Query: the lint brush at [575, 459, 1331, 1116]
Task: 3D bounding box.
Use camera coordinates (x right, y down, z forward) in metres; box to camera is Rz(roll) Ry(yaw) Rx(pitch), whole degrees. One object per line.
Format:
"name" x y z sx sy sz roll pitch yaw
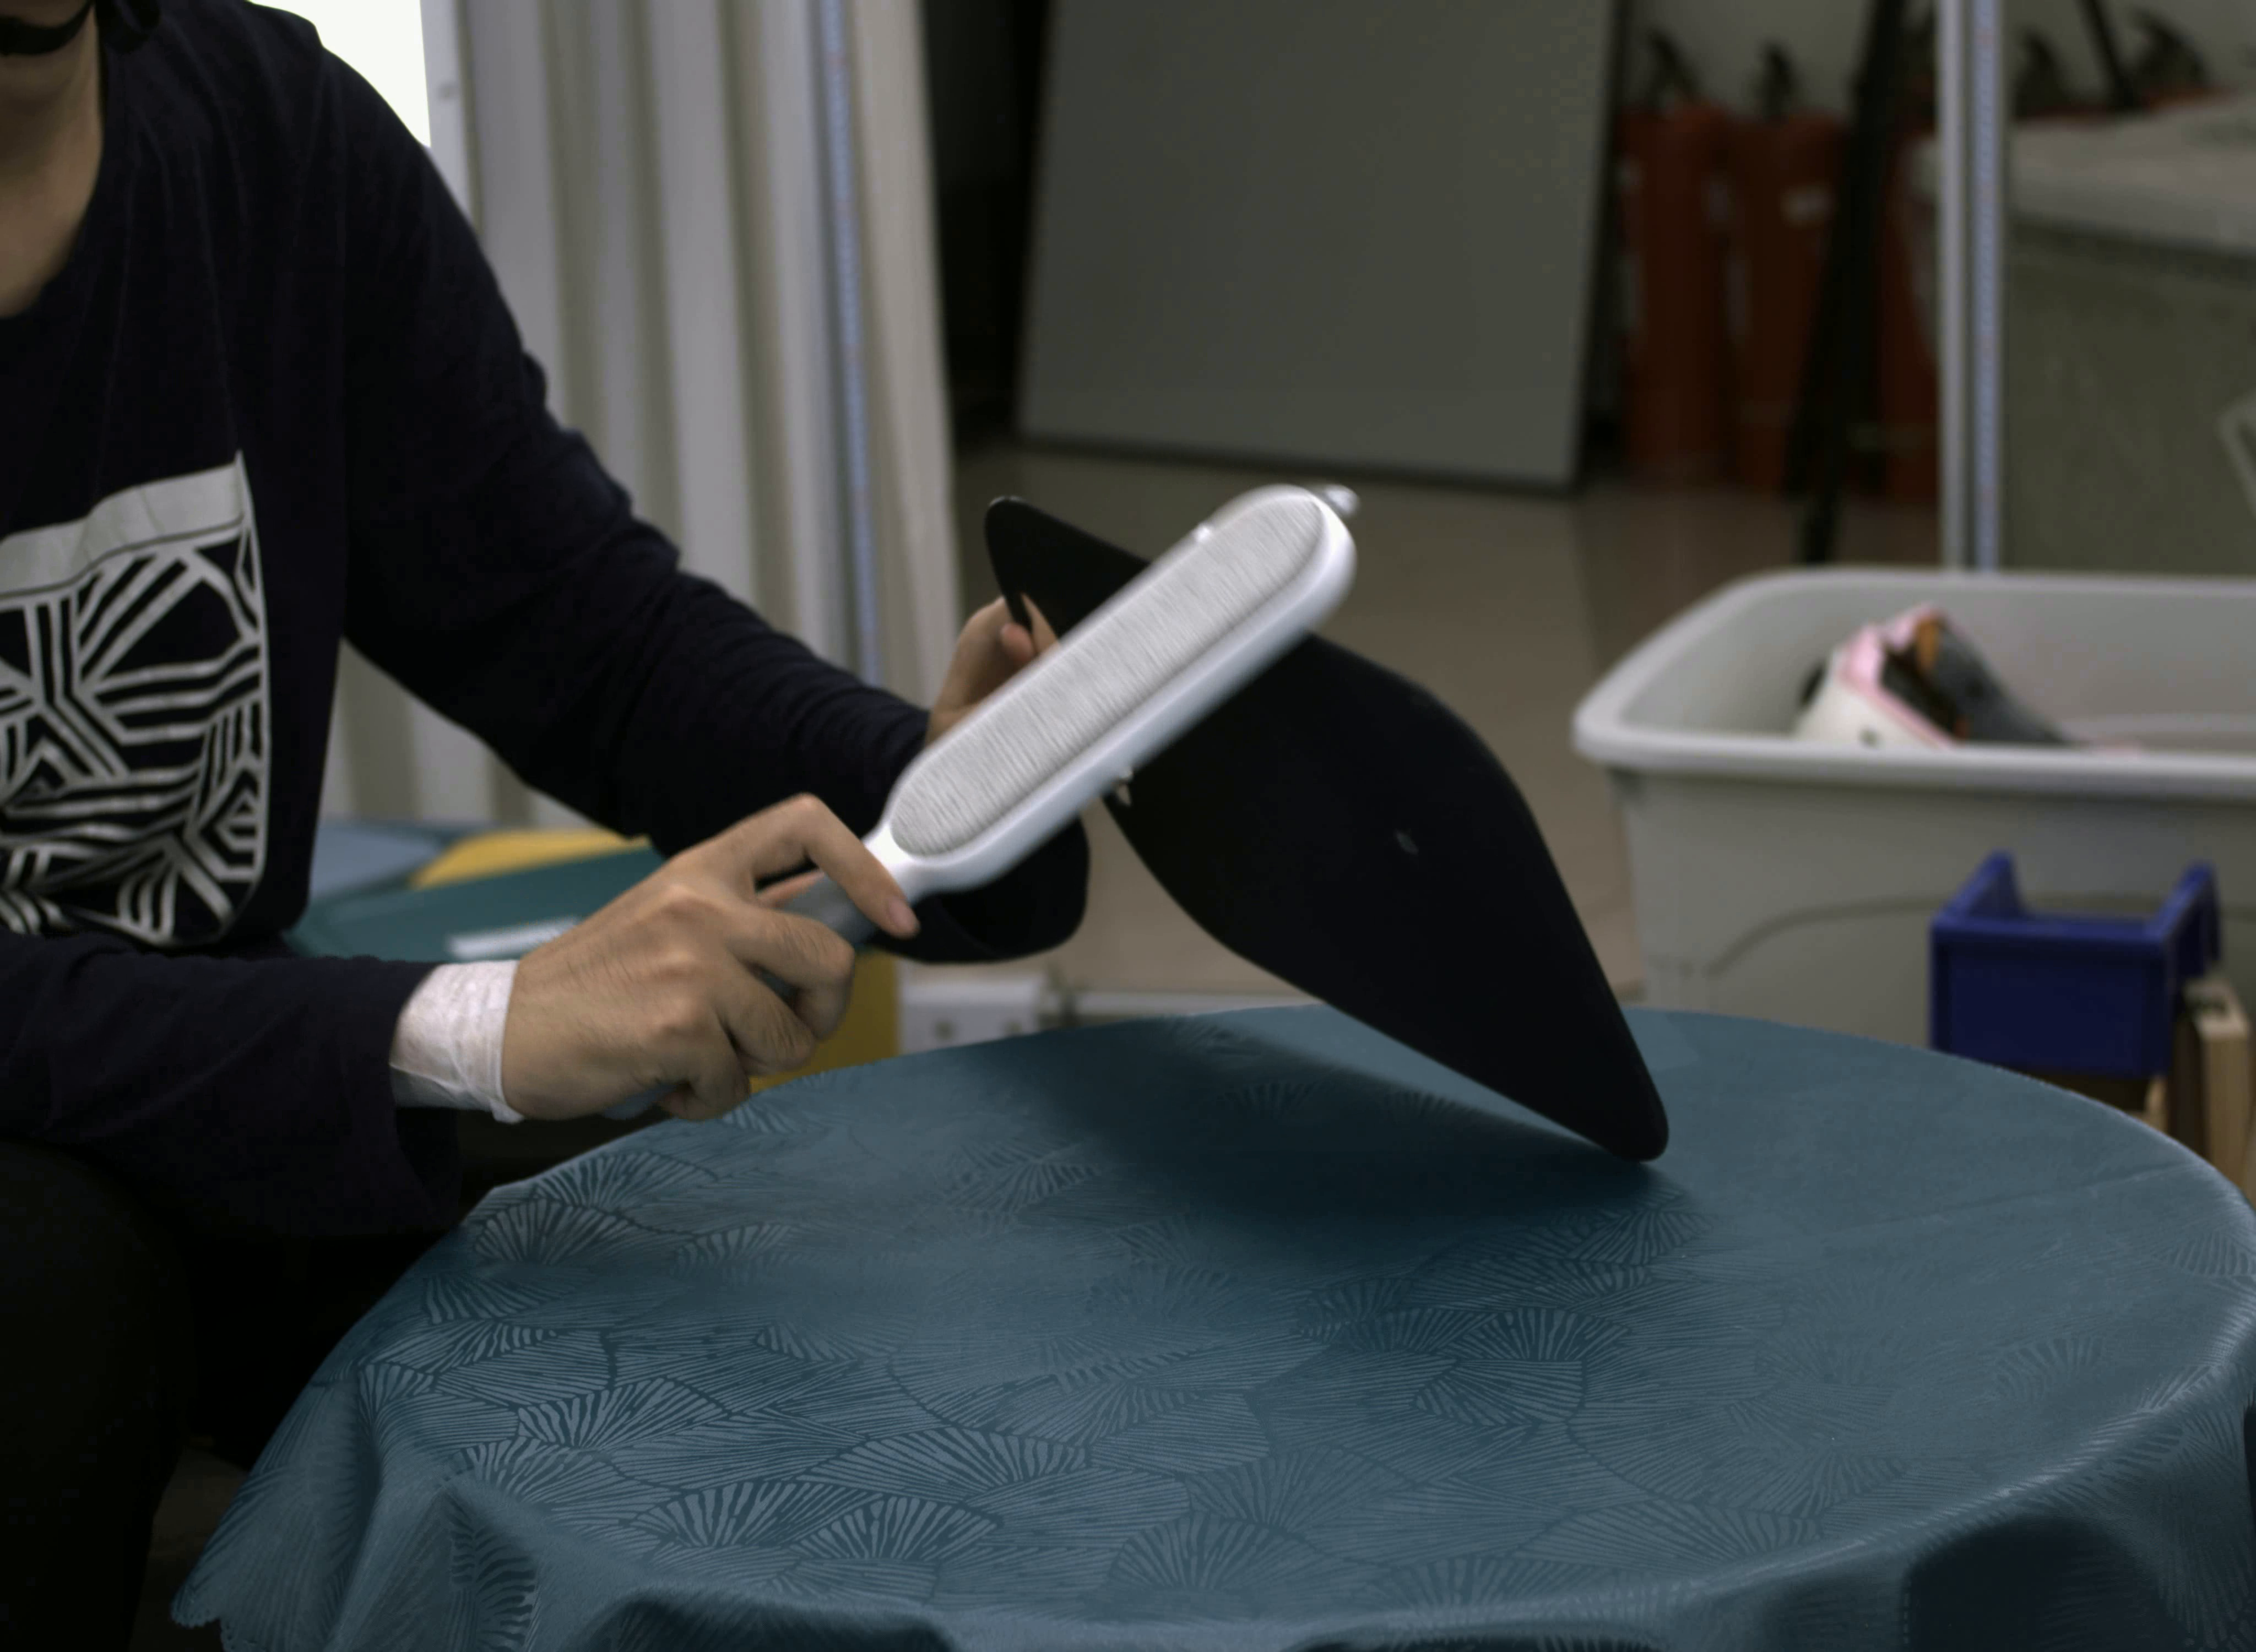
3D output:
"lint brush" -0.057 -0.012 1.736 0.308 0.020 0.061 -40 44 2

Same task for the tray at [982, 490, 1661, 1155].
"tray" 0.057 -0.008 1.819 0.009 0.211 0.329 -37 32 -19
